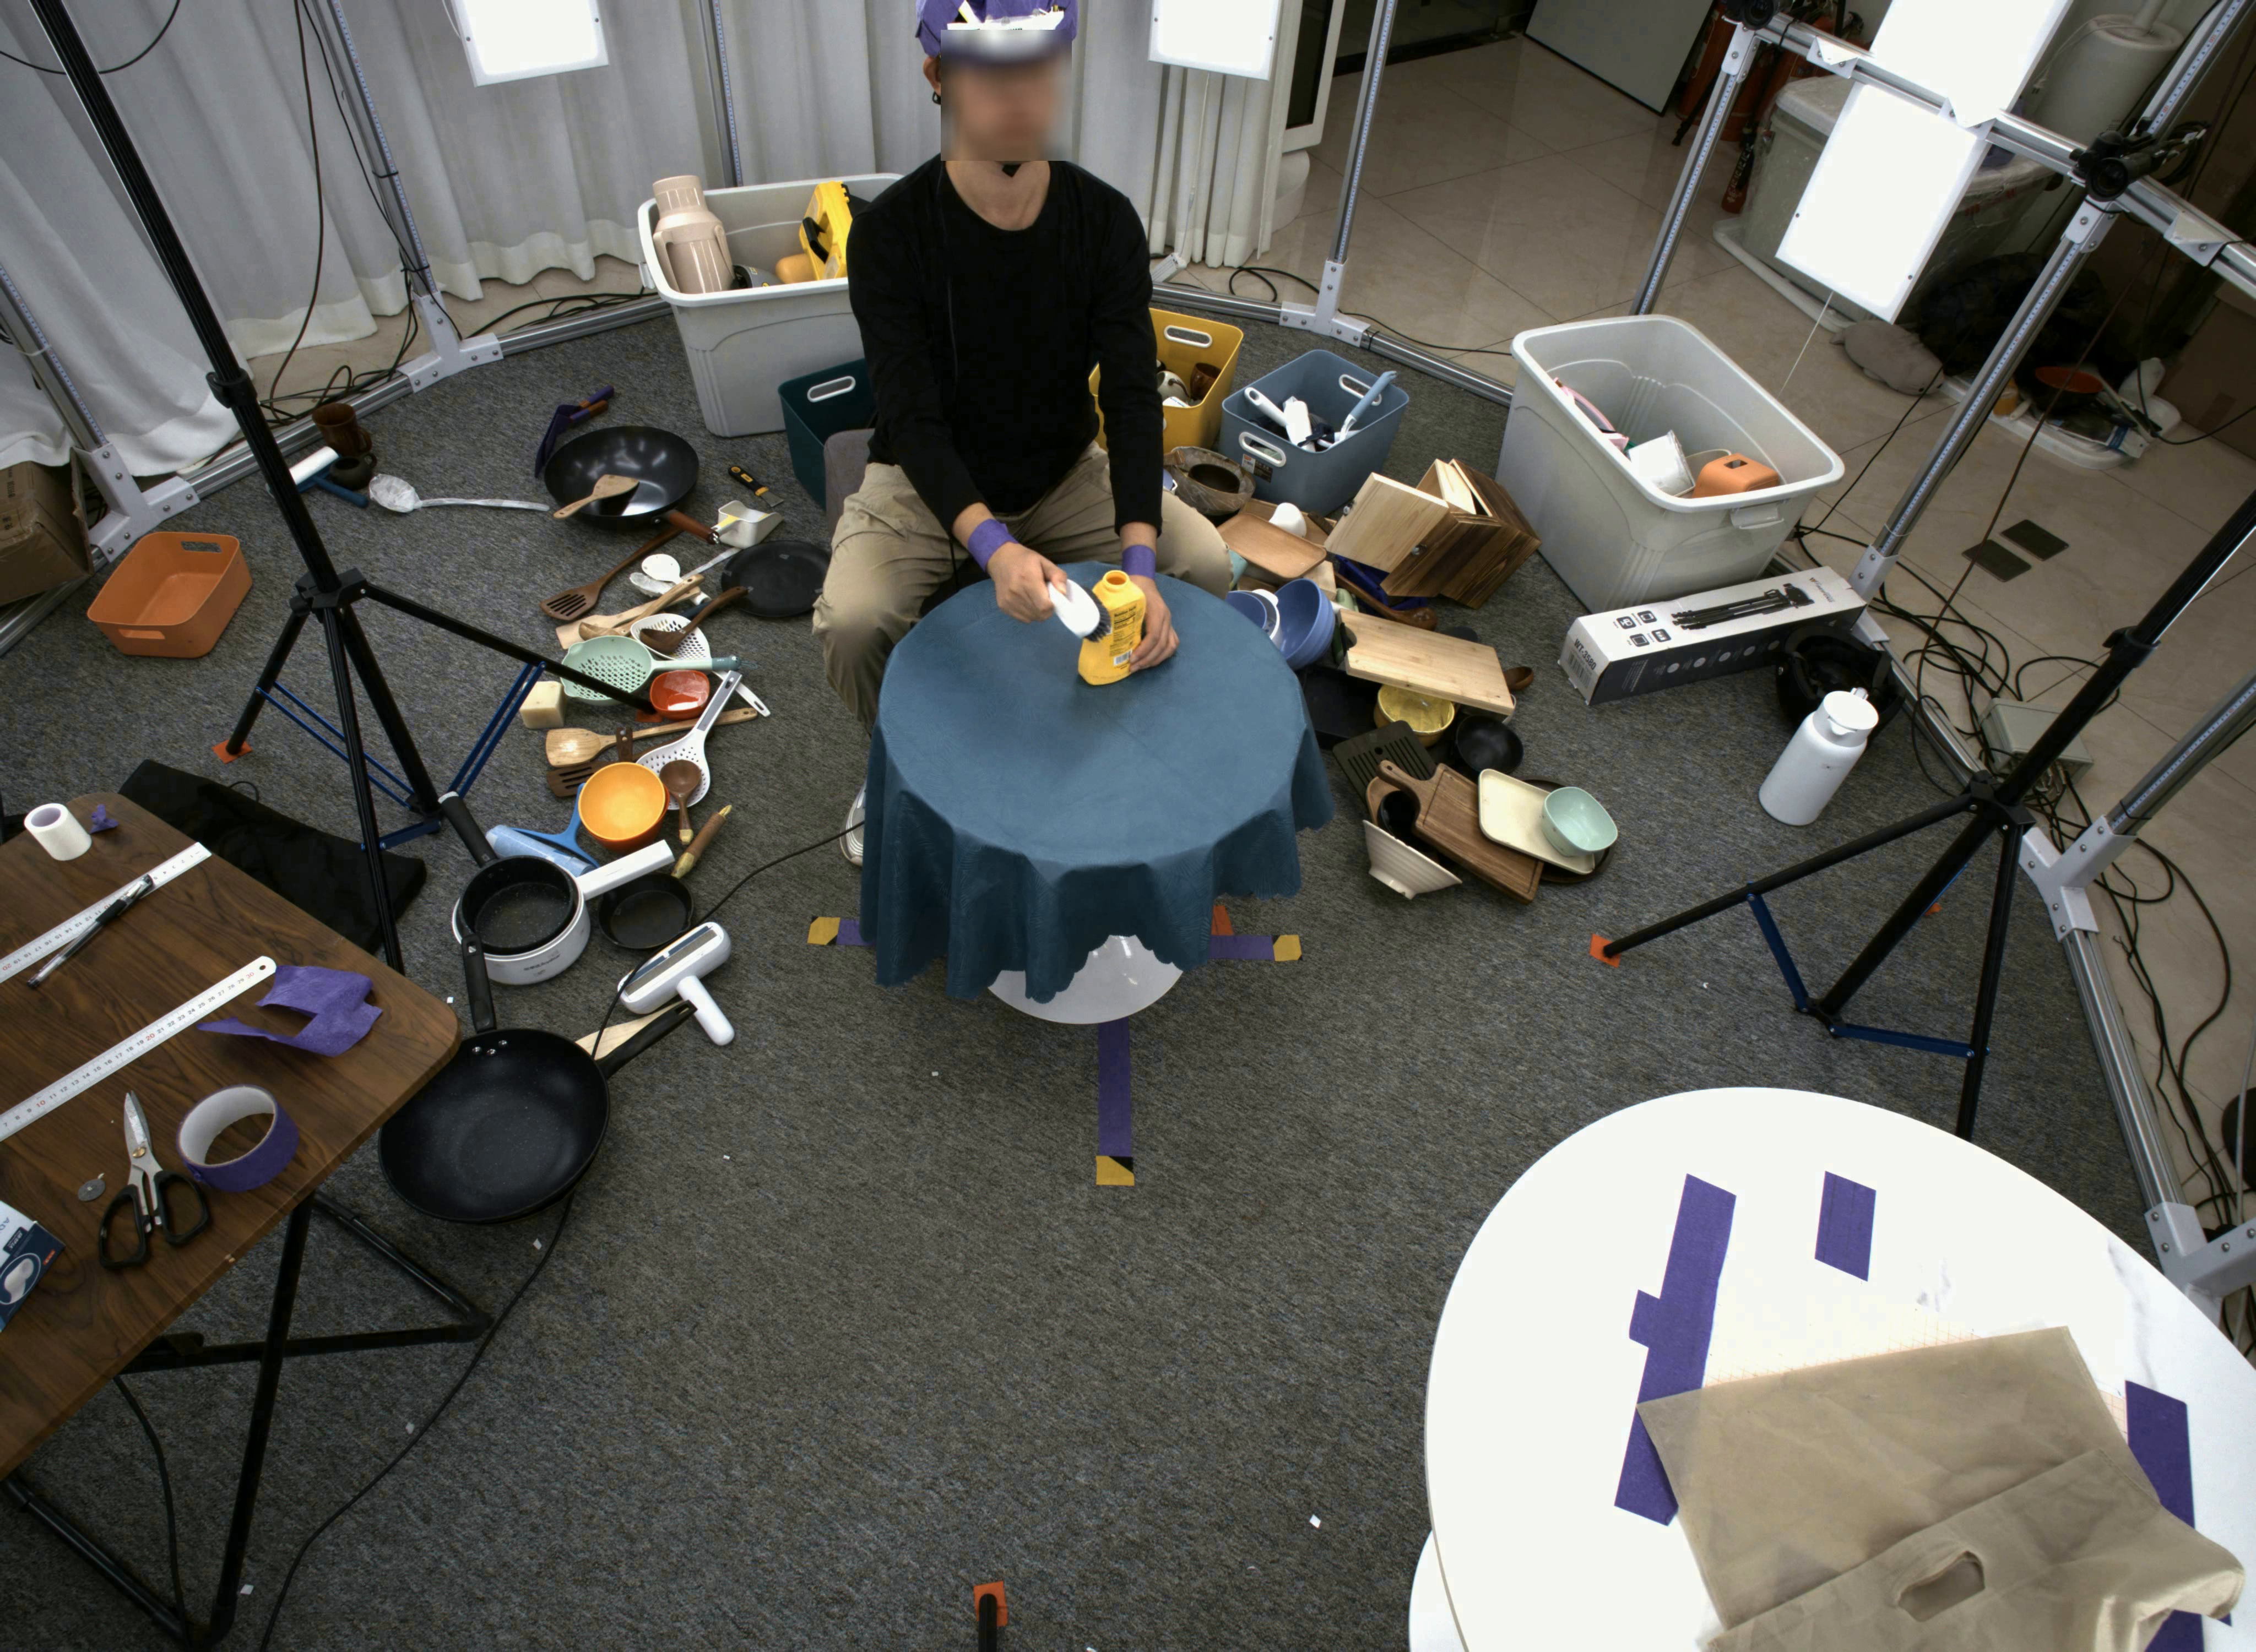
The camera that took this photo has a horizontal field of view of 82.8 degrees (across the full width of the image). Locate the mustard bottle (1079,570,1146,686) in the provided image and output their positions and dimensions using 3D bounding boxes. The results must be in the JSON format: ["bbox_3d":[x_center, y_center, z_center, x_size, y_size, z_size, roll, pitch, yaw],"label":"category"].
[{"bbox_3d":[-0.022,-0.280,1.799,0.099,0.168,0.060,-28,54,-24],"label":"mustard bottle"}]

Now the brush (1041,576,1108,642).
[{"bbox_3d":[-0.078,-0.294,1.704,0.071,0.050,0.101,20,30,-50],"label":"brush"}]
